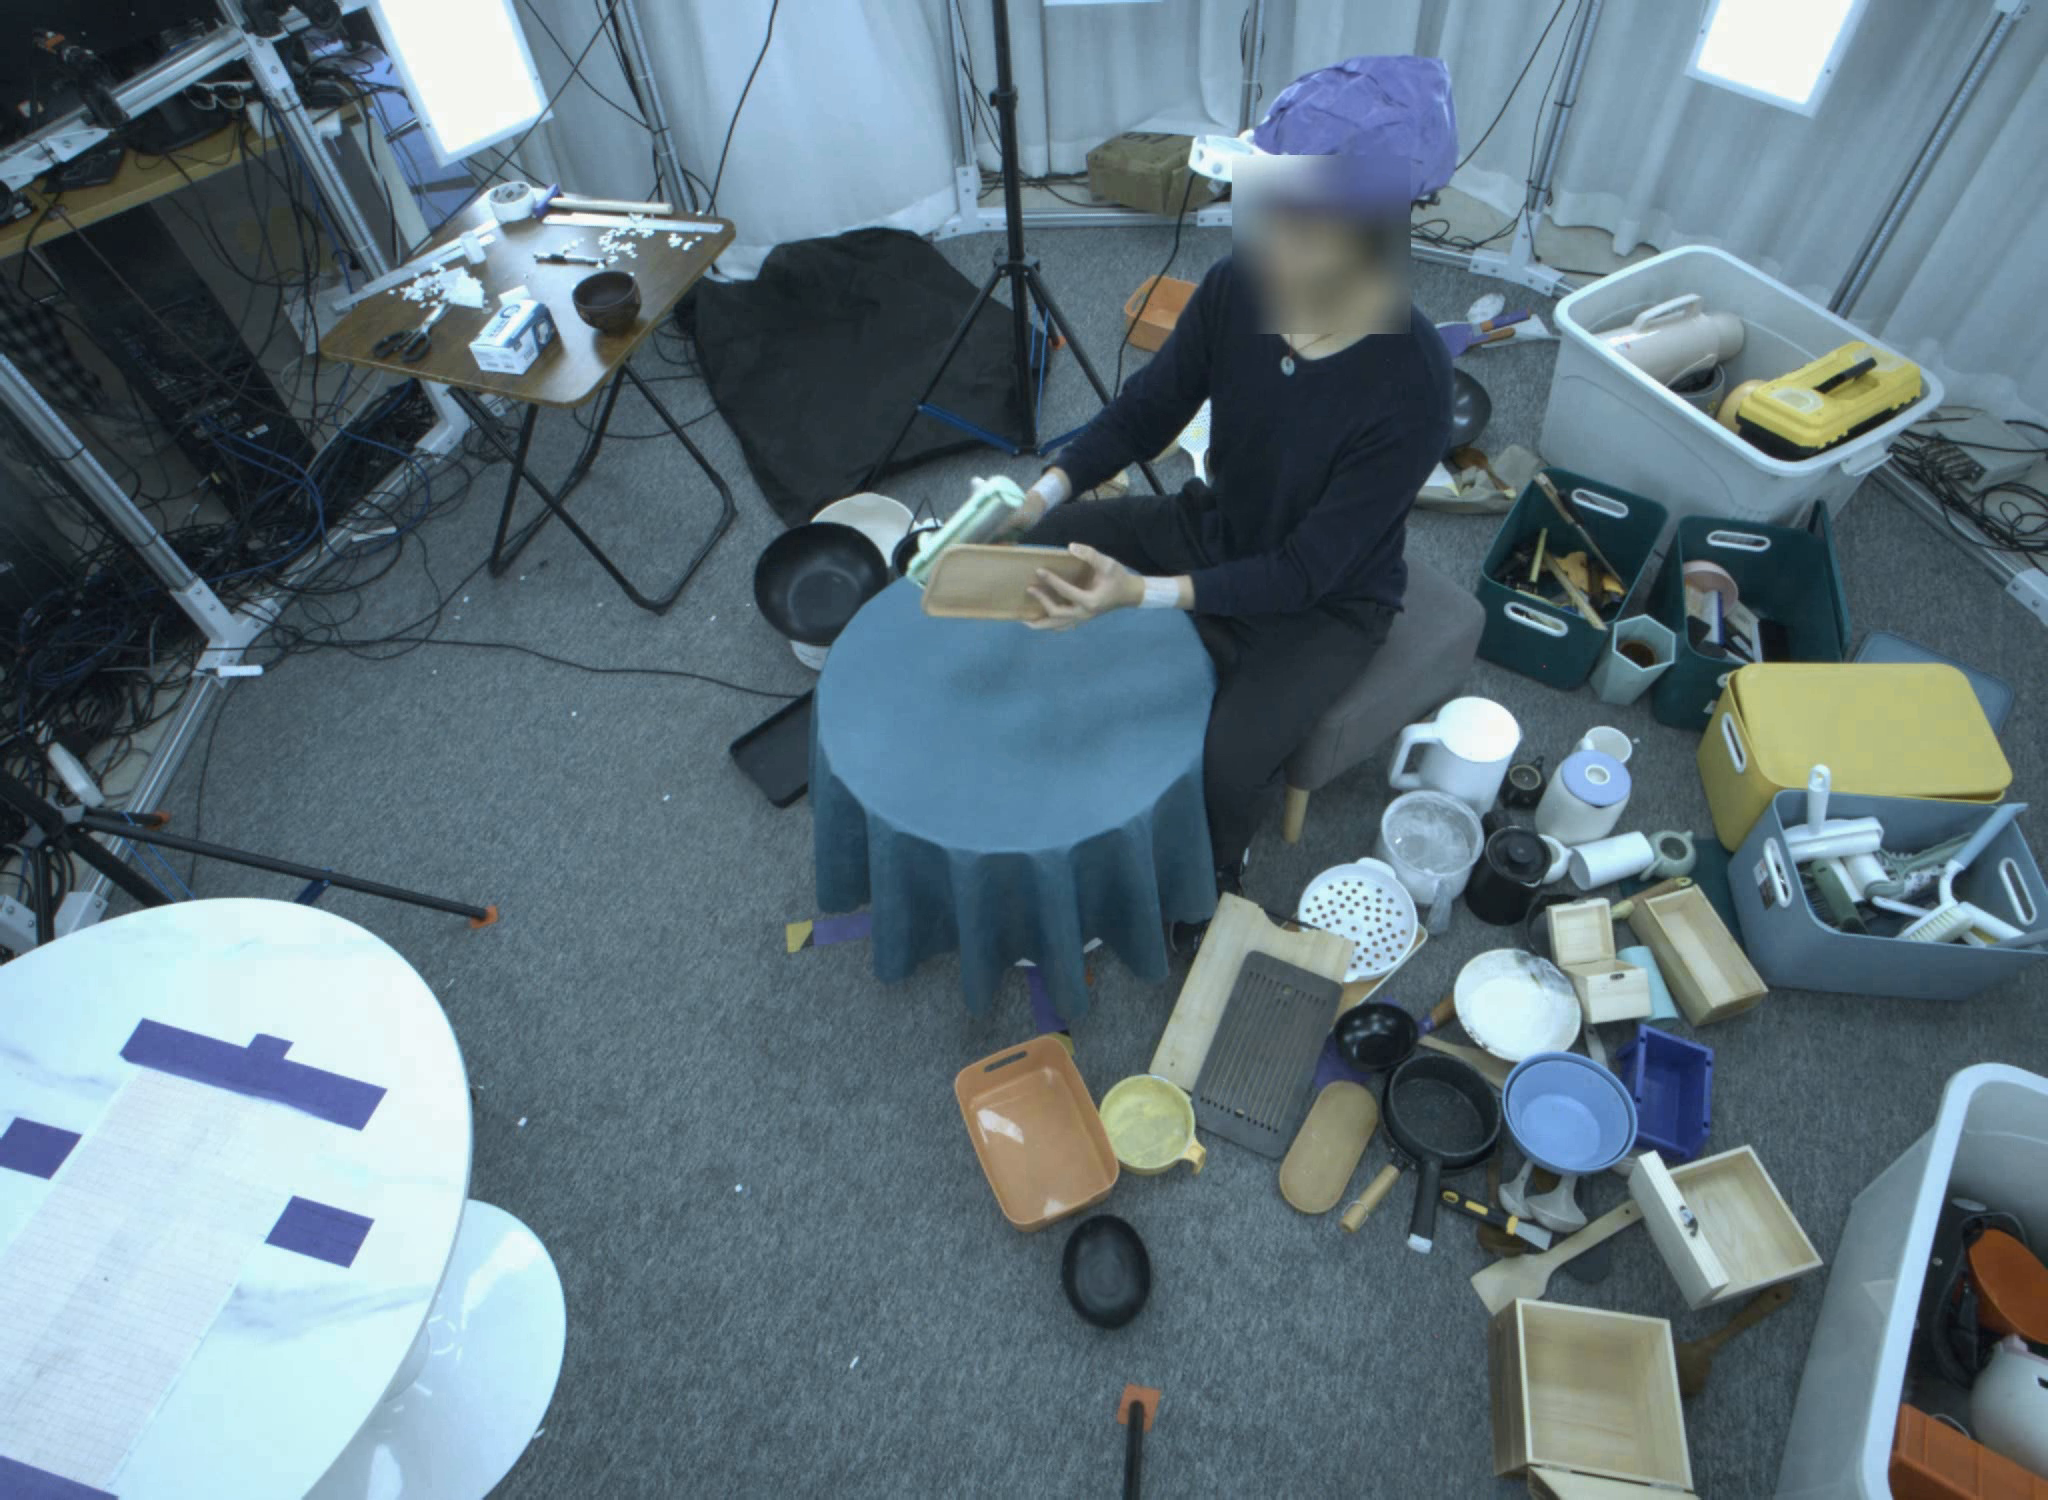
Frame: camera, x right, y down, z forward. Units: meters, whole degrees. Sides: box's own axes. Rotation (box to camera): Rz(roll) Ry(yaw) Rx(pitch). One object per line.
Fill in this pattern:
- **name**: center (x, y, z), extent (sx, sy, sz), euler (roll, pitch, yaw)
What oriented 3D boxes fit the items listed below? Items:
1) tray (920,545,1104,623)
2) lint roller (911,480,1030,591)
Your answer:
- **tray**: center (-0.016, -0.226, 1.673), extent (0.255, 0.130, 0.022), euler (-2, 53, -30)
- **lint roller**: center (-0.062, -0.318, 1.730), extent (0.082, 0.197, 0.184), euler (49, 30, -4)
